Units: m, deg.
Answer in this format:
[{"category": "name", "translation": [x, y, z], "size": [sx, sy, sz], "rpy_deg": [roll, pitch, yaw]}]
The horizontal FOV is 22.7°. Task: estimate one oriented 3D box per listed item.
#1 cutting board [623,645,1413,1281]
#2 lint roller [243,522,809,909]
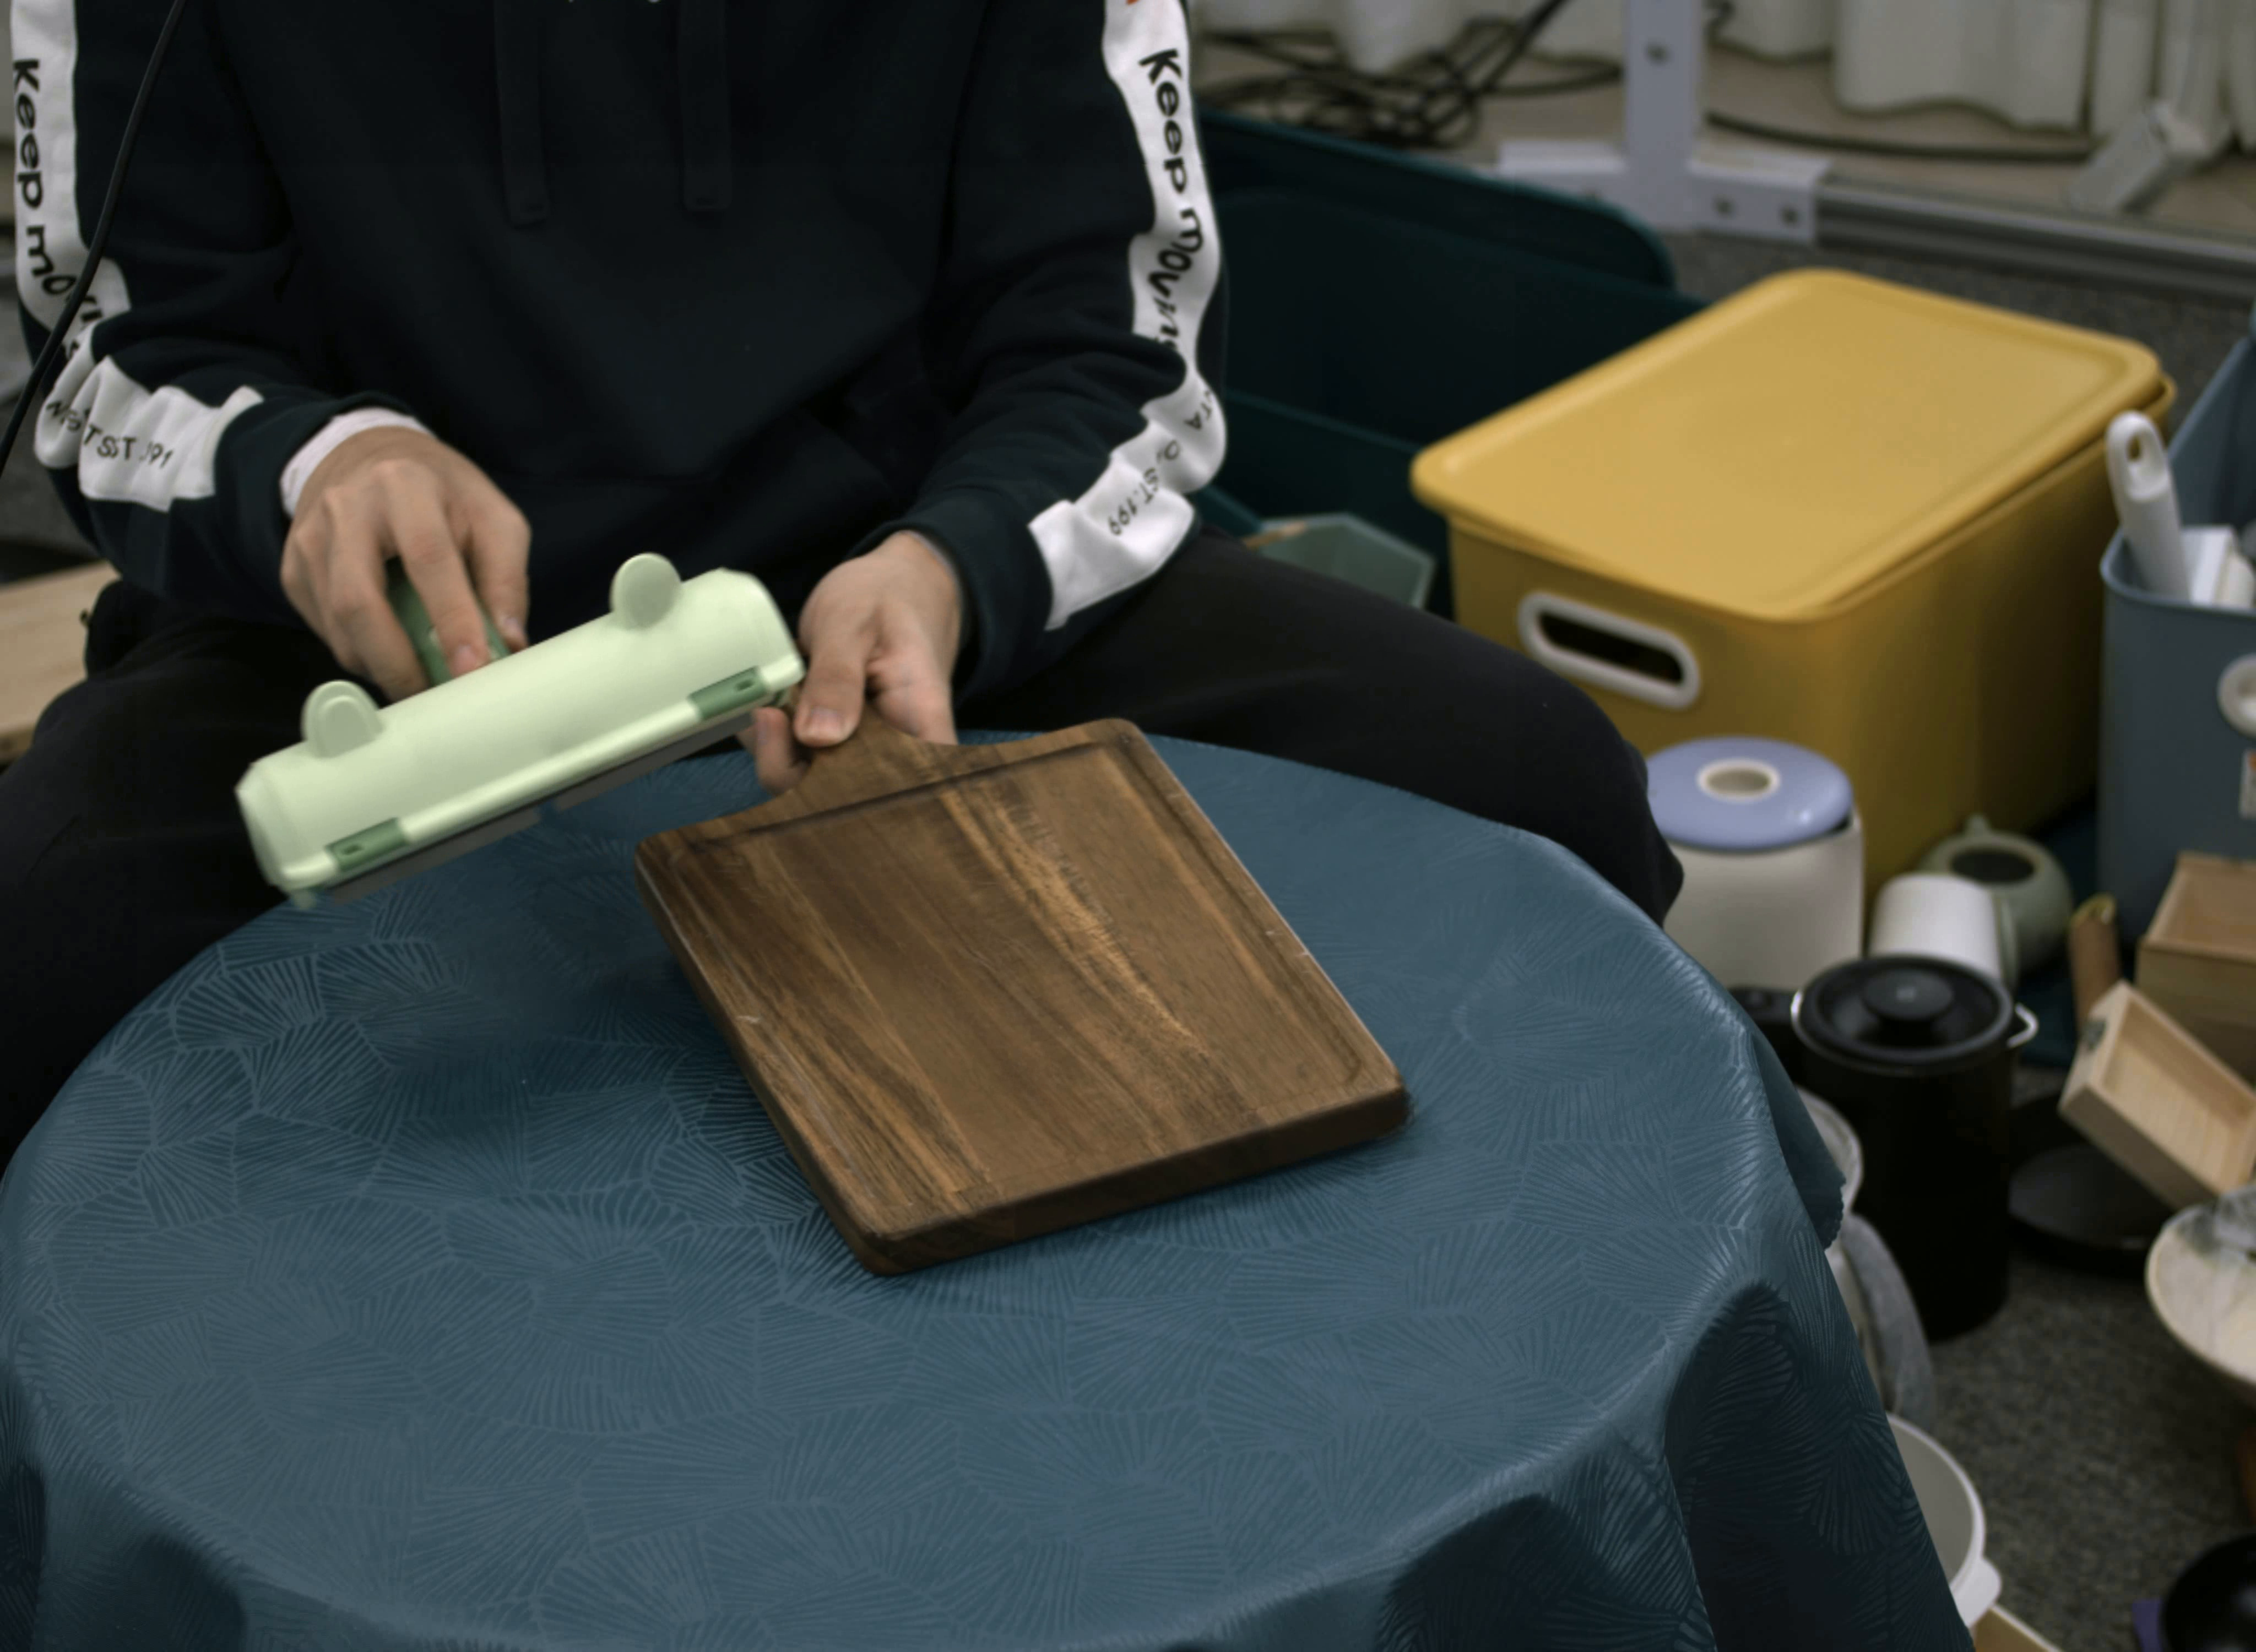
[{"category": "cutting board", "translation": [-0.061, 0.029, 1.978], "size": [0.202, 0.023, 0.355], "rpy_deg": [-14, 36, -19]}, {"category": "lint roller", "translation": [-0.234, -0.070, 1.978], "size": [0.199, 0.081, 0.185], "rpy_deg": [-24, 48, -16]}]
